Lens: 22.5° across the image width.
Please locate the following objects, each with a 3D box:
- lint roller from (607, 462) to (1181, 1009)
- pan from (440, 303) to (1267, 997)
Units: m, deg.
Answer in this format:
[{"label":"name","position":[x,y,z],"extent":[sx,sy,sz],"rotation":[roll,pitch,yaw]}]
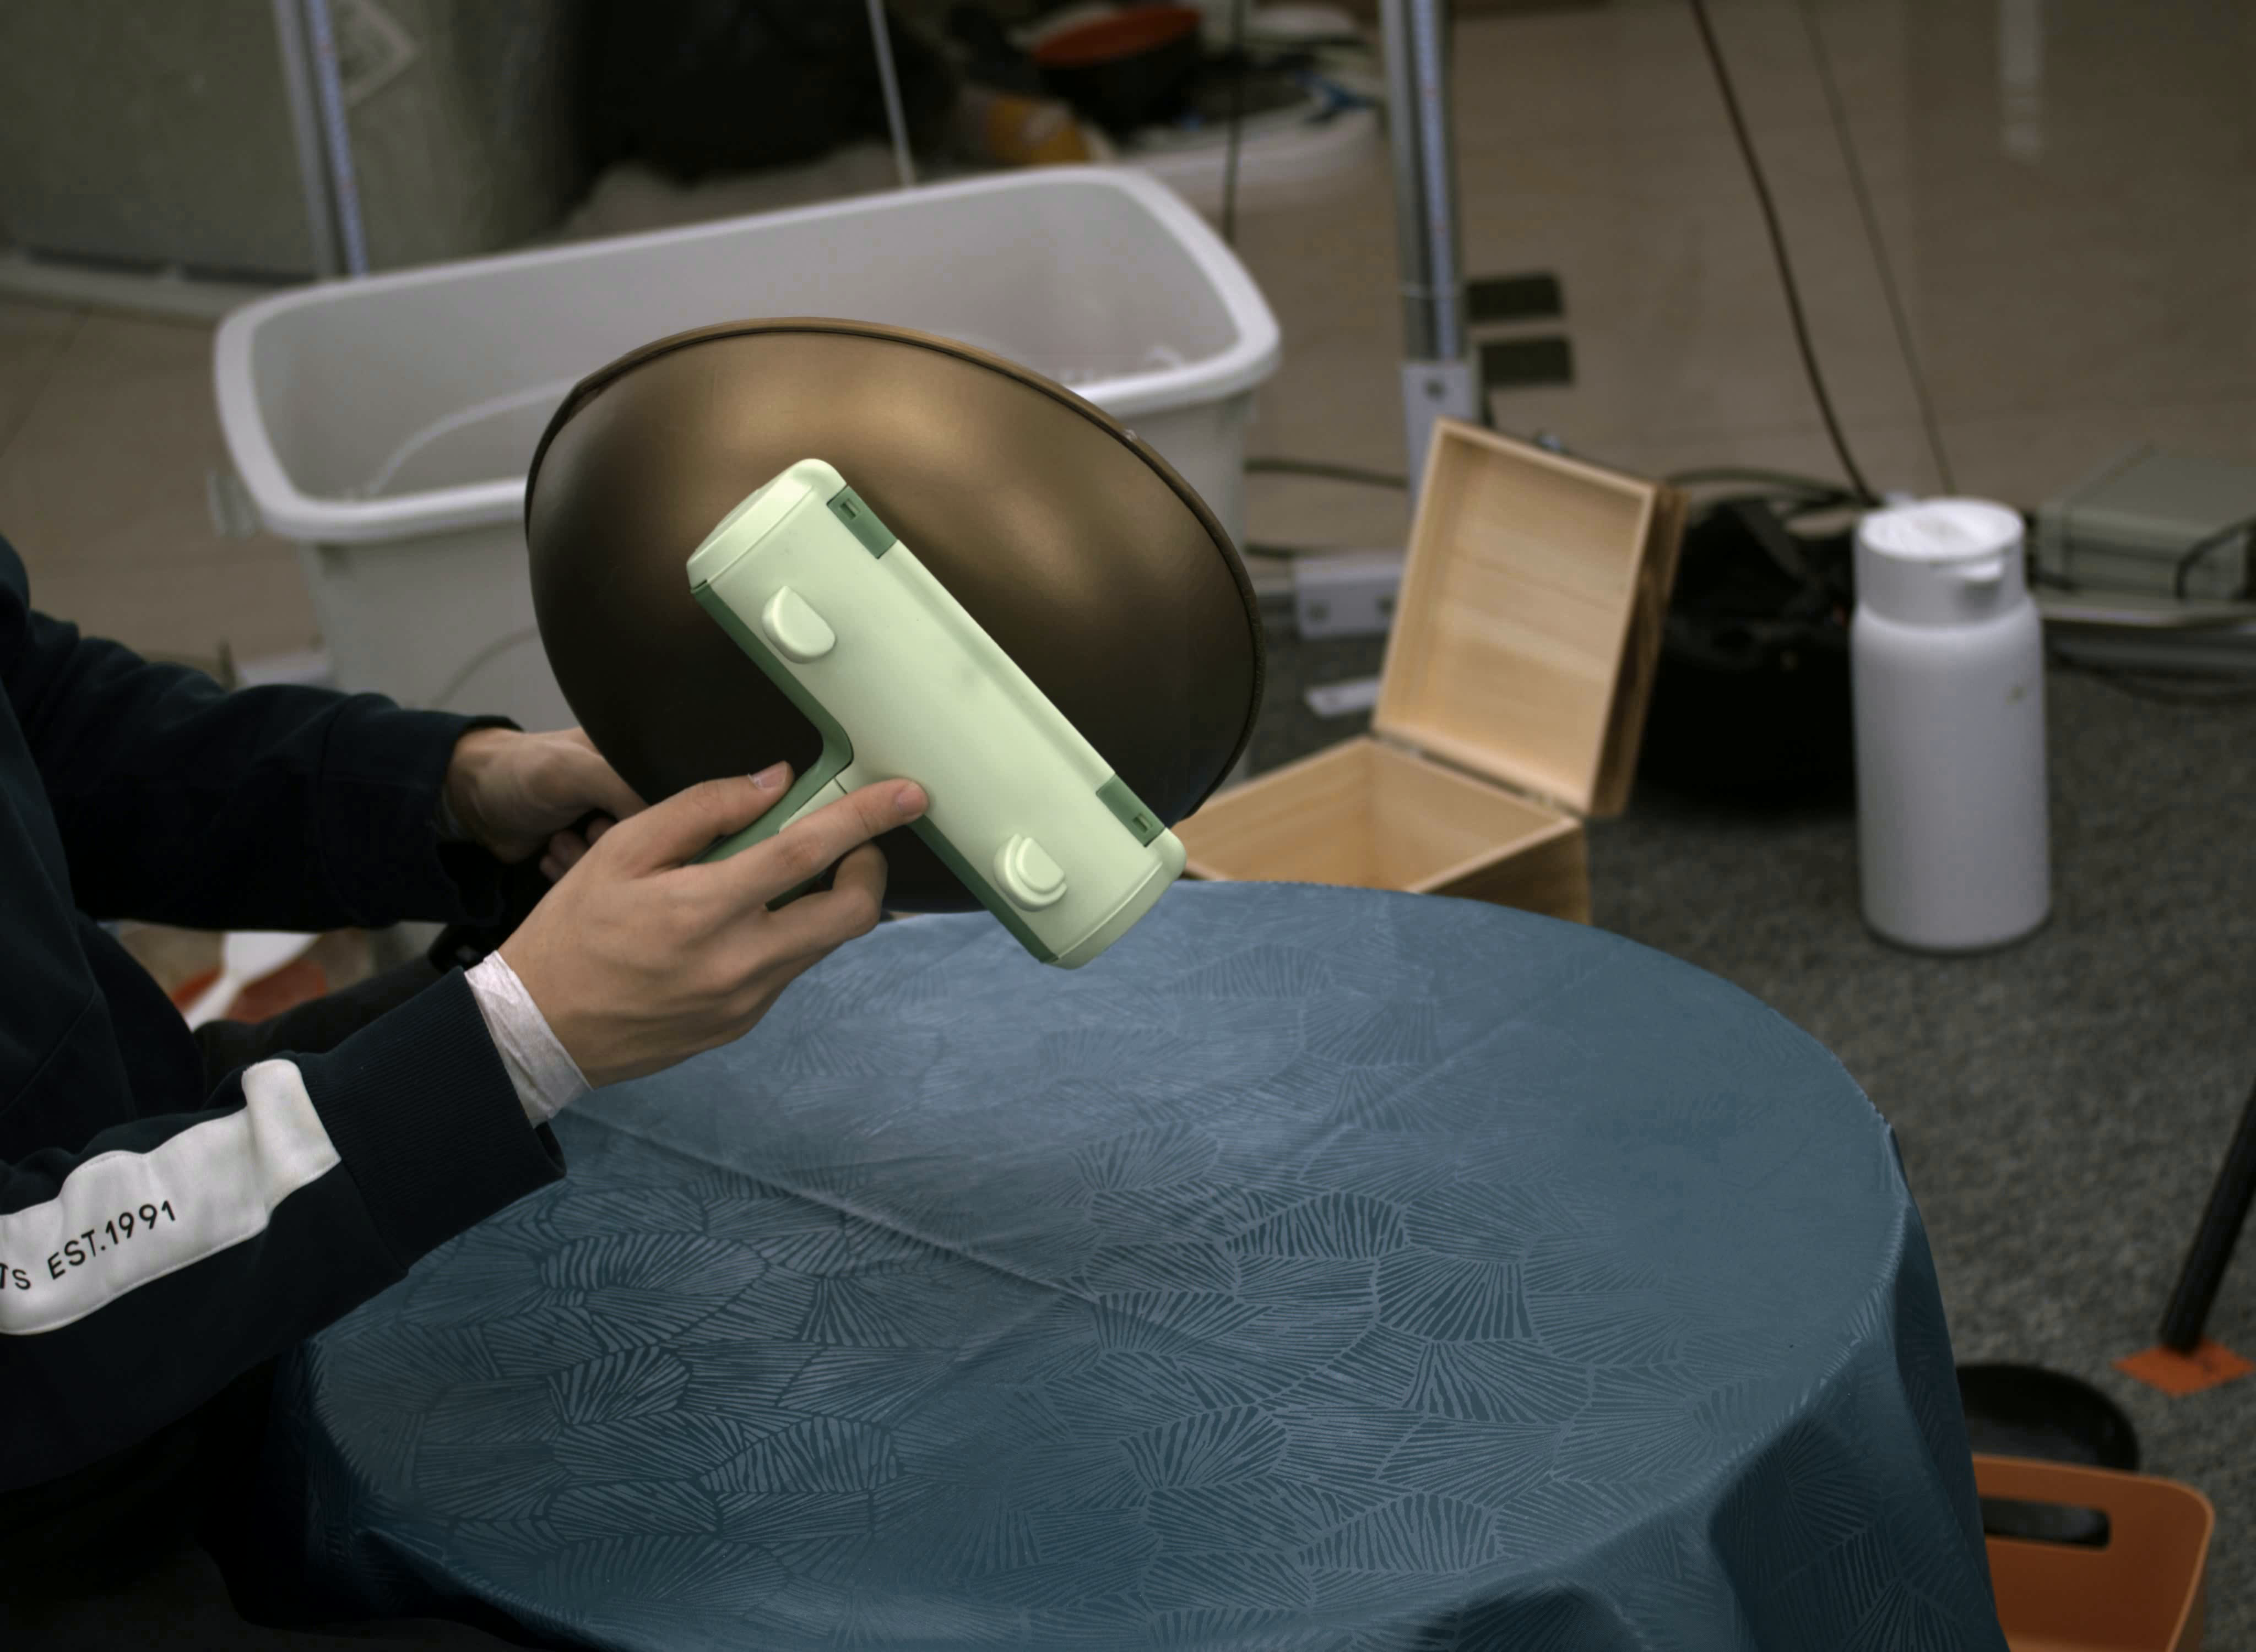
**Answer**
[{"label":"lint roller","position":[-0.110,0.004,1.942],"extent":[0.183,0.199,0.081],"rotation":[-42,10,5]},{"label":"pan","position":[-0.149,-0.019,2.110],"extent":[0.468,0.290,0.085],"rotation":[-35,28,44]}]
